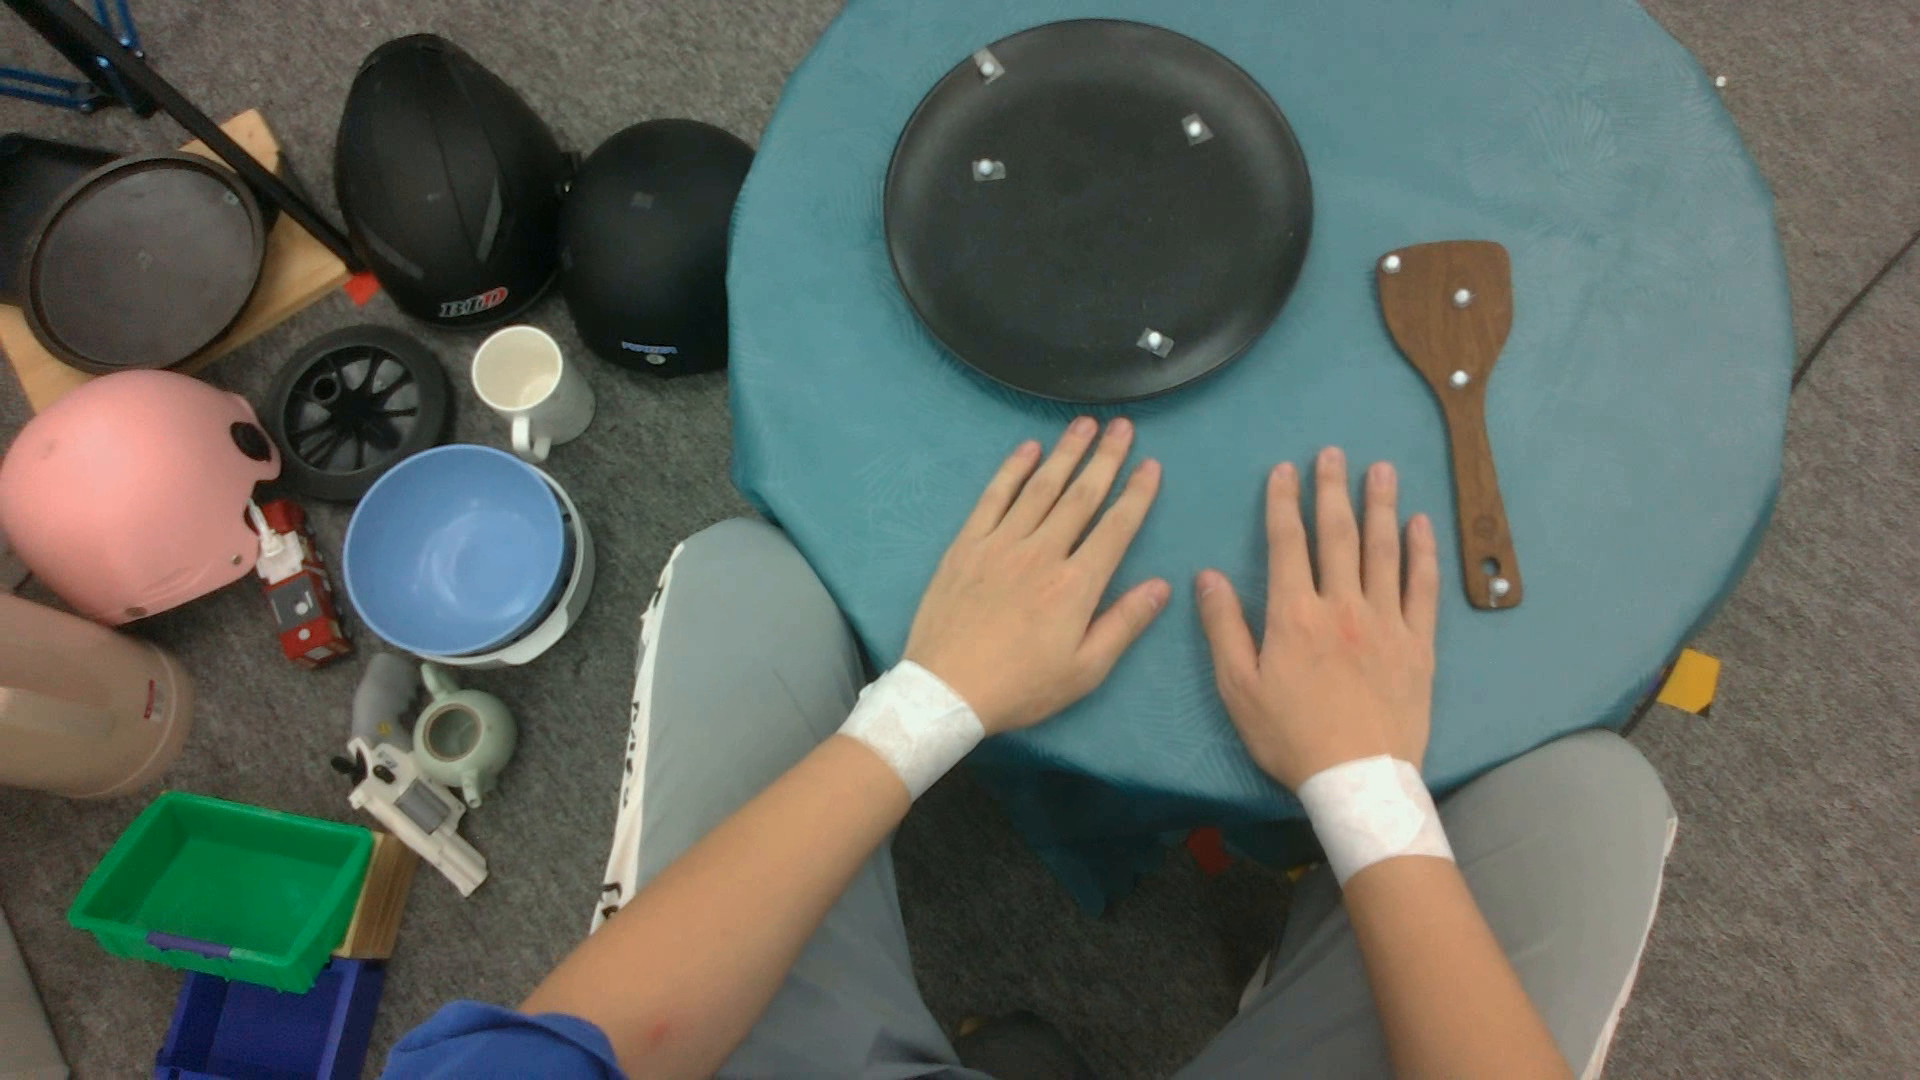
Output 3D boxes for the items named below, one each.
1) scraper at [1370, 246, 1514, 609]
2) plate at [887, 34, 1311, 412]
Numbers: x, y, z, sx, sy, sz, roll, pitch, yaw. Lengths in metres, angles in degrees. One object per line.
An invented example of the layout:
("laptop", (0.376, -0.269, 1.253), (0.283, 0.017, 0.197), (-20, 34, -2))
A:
("scraper", (0.276, -0.065, 0.761), (0.076, 0.011, 0.212), (-4, 74, 3))
("plate", (0.079, -0.186, 0.801), (0.244, 0.023, 0.245), (-1, 73, 3))
